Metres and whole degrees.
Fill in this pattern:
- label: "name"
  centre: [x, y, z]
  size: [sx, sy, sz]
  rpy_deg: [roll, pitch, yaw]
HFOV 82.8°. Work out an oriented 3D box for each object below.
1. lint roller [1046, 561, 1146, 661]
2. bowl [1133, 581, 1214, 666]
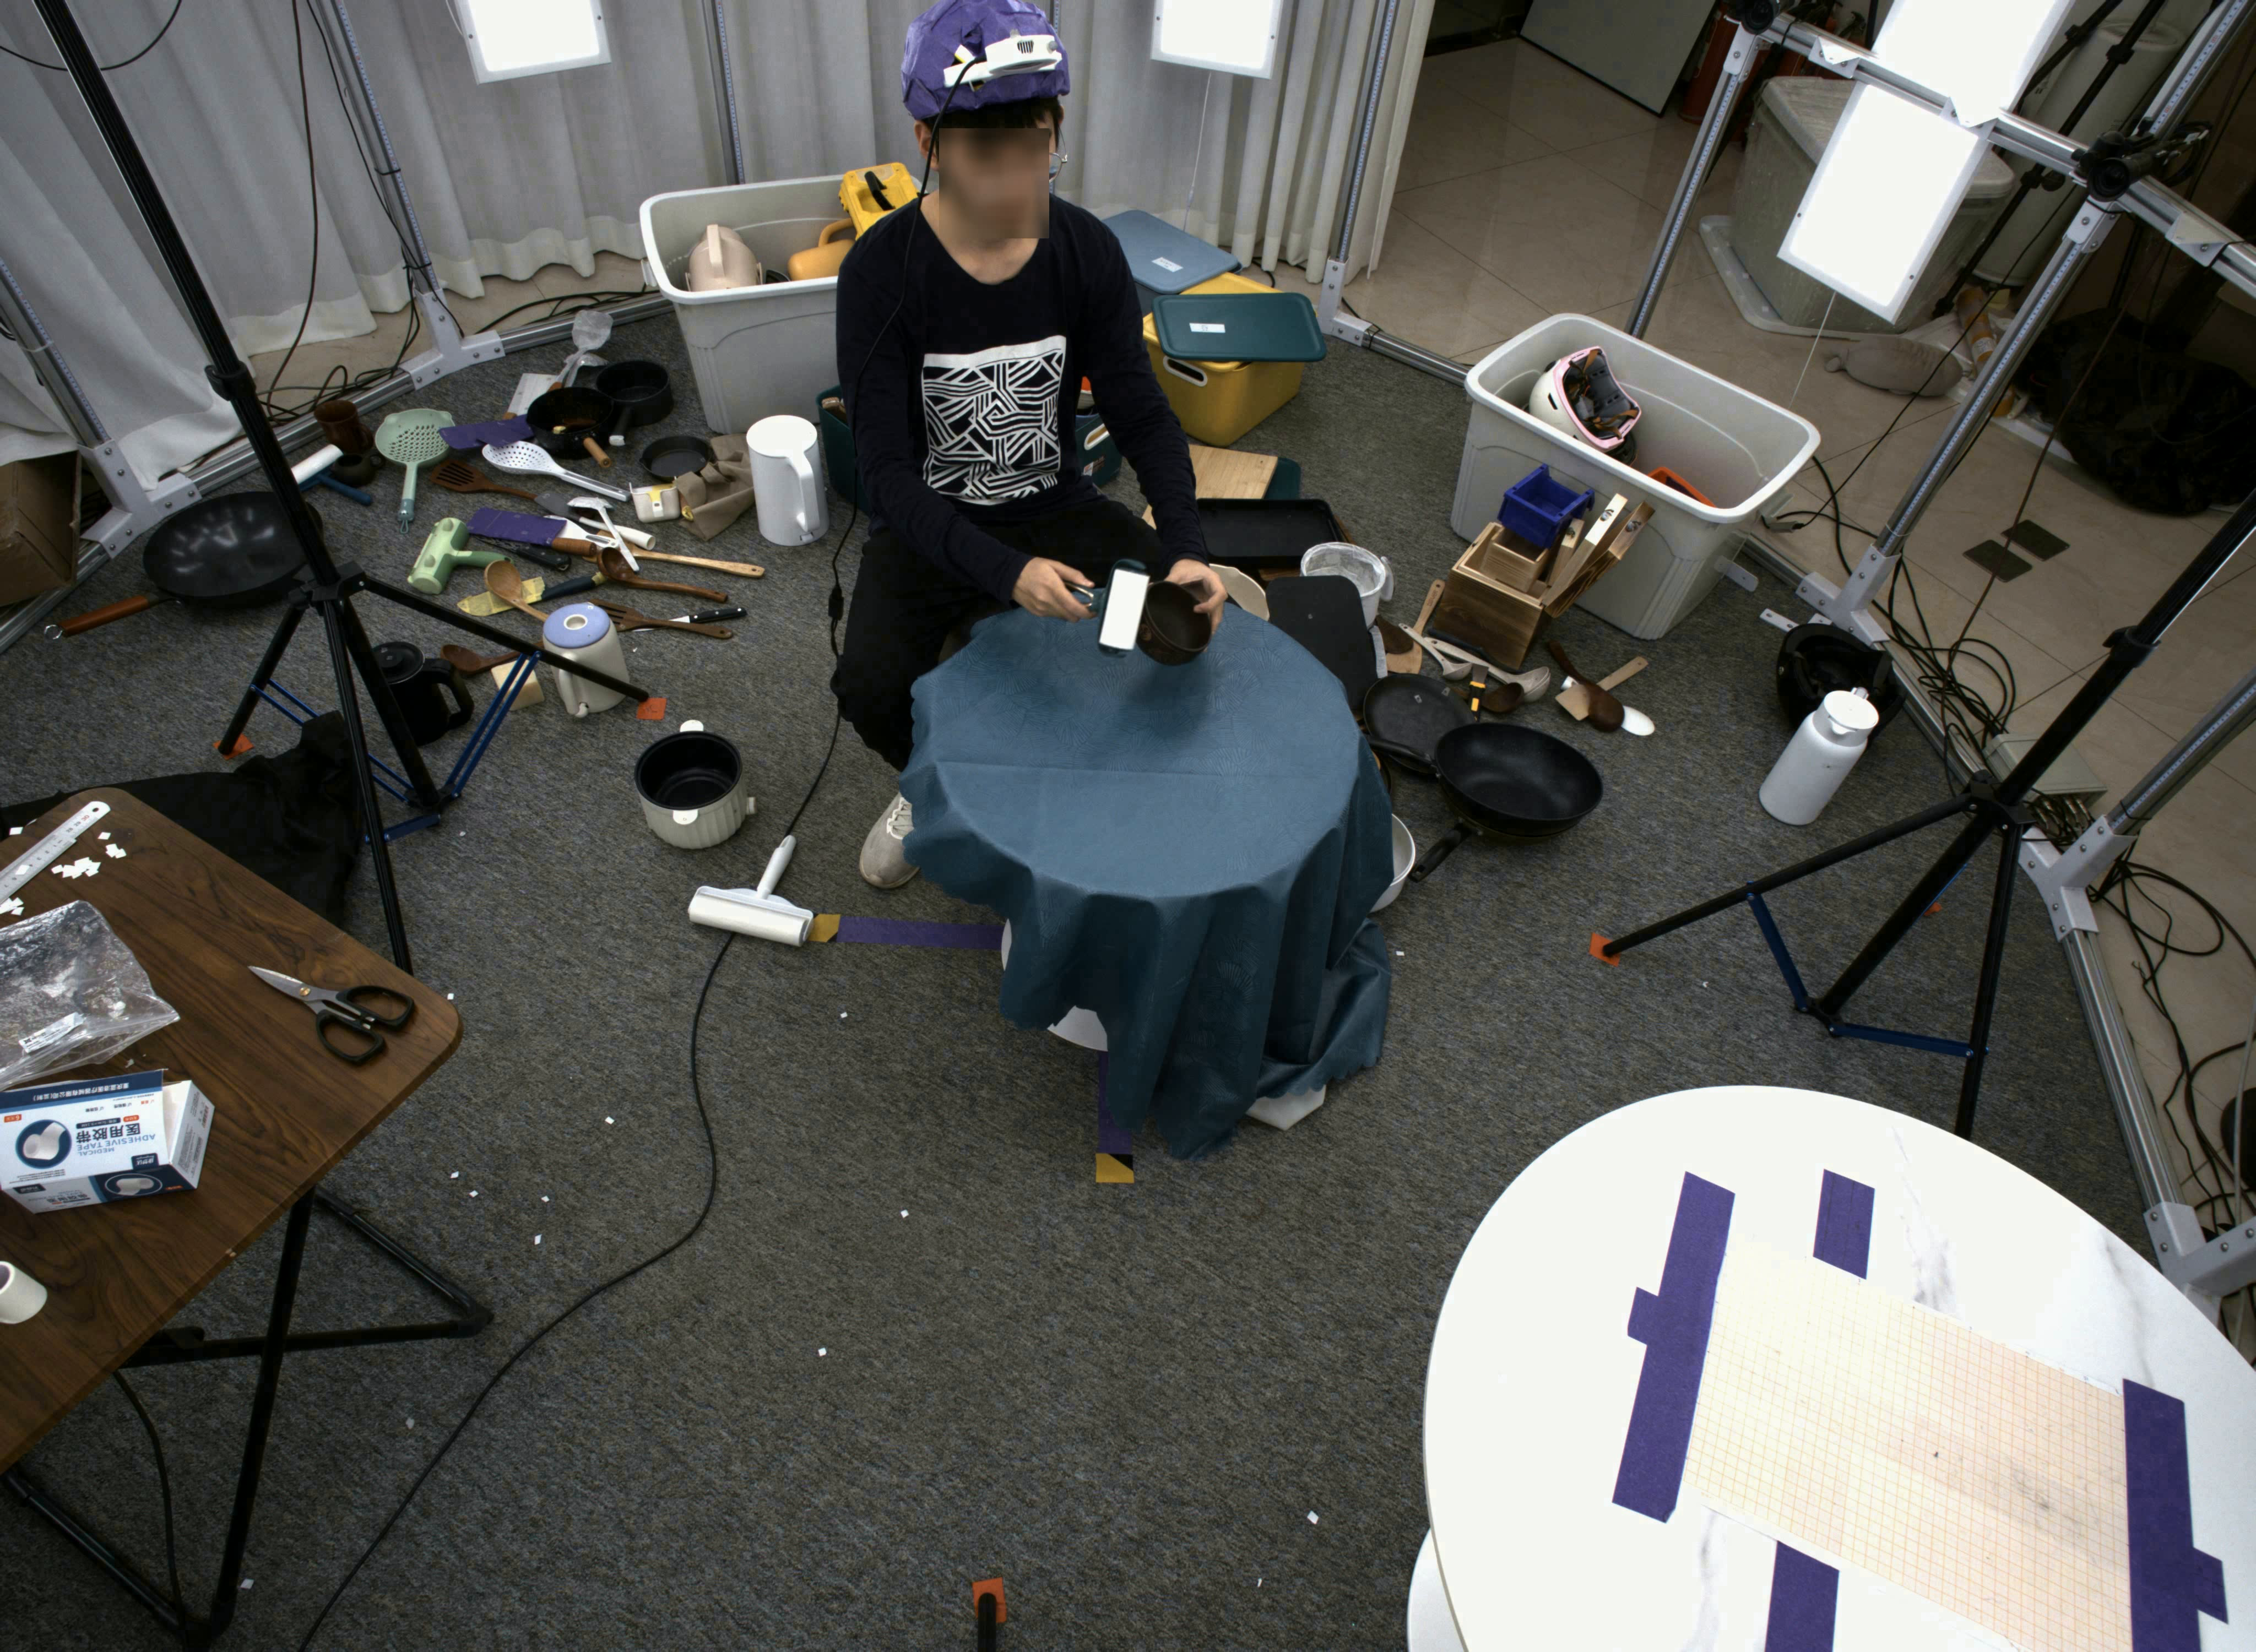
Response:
- label: "lint roller"
  centre: [-0.059, -0.306, 1.753]
  size: [0.182, 0.133, 0.048]
  rpy_deg: [21, 13, 36]
- label: "bowl"
  centre: [0.054, -0.272, 1.782]
  size: [0.117, 0.069, 0.121]
  rpy_deg: [17, 52, -24]
